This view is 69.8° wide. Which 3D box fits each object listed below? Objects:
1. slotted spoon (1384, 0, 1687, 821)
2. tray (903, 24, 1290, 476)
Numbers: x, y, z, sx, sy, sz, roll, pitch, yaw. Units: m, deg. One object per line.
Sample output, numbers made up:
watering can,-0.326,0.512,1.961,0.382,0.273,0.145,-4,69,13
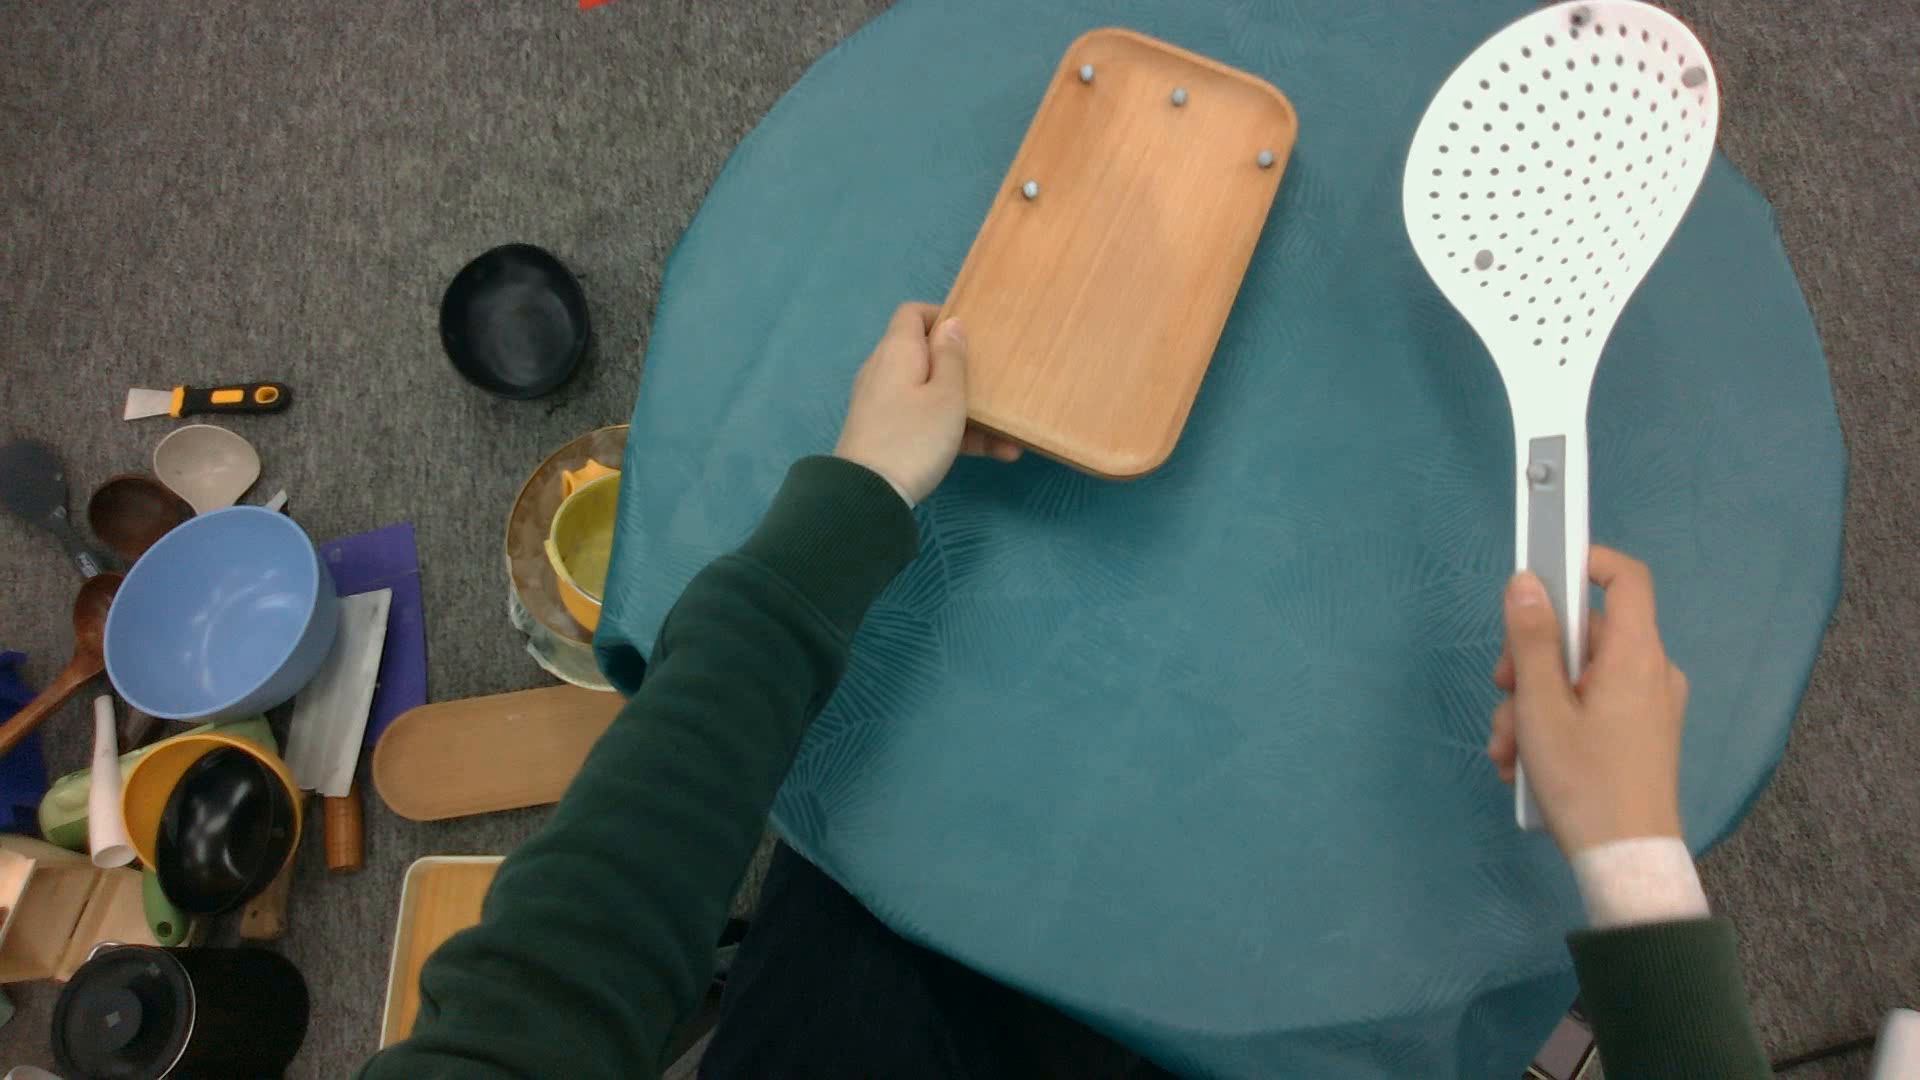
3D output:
slotted spoon,0.242,-0.061,0.578,0.046,0.135,0.350,13,77,-38
tray,0.072,-0.149,0.677,0.130,0.023,0.251,22,67,7
